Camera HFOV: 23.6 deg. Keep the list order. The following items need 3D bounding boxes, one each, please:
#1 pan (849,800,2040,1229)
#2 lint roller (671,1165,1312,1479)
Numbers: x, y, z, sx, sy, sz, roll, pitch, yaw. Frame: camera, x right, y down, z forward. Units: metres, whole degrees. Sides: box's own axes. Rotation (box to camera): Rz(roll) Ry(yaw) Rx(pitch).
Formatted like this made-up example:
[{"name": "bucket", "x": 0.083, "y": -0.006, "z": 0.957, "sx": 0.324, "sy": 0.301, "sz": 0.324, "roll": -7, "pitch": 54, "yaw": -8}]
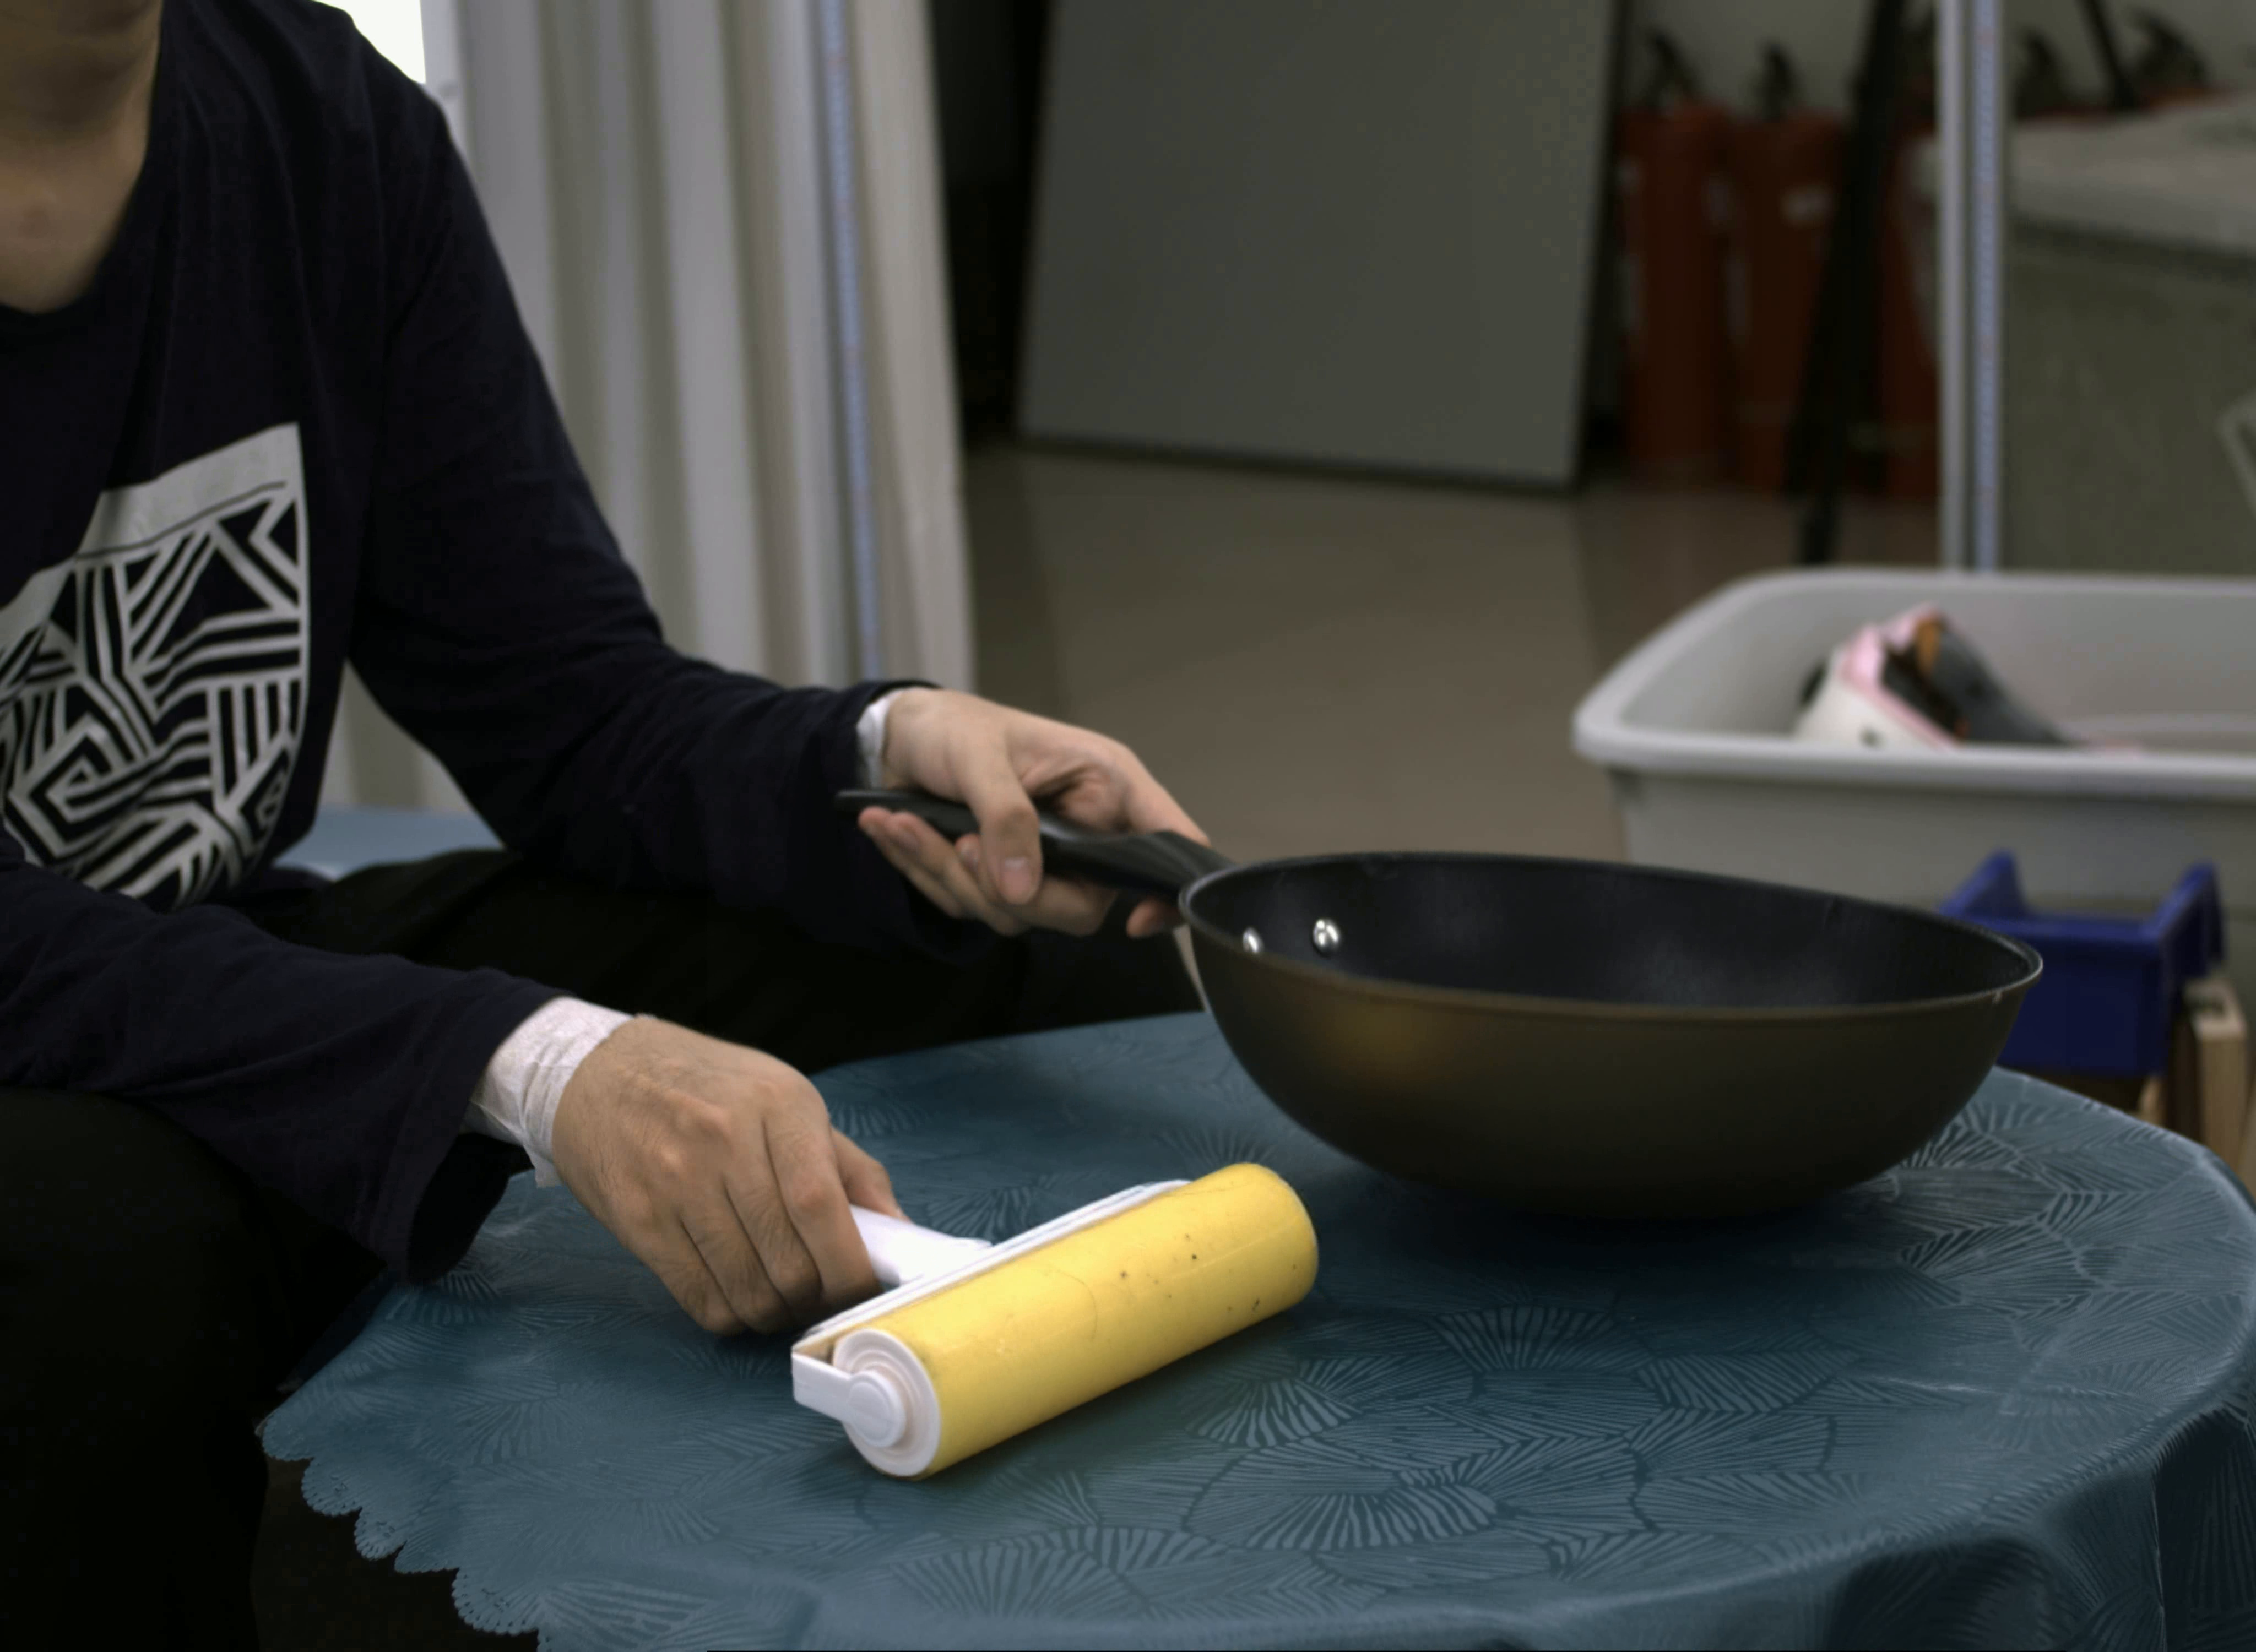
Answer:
[{"name": "pan", "x": 0.079, "y": 0.060, "z": 1.780, "sx": 0.467, "sy": 0.088, "sz": 0.282, "roll": 10, "pitch": 11, "yaw": 38}, {"name": "lint roller", "x": -0.068, "y": 0.126, "z": 1.619, "sx": 0.194, "sy": 0.052, "sz": 0.171, "roll": 20, "pitch": 28, "yaw": 40}]
